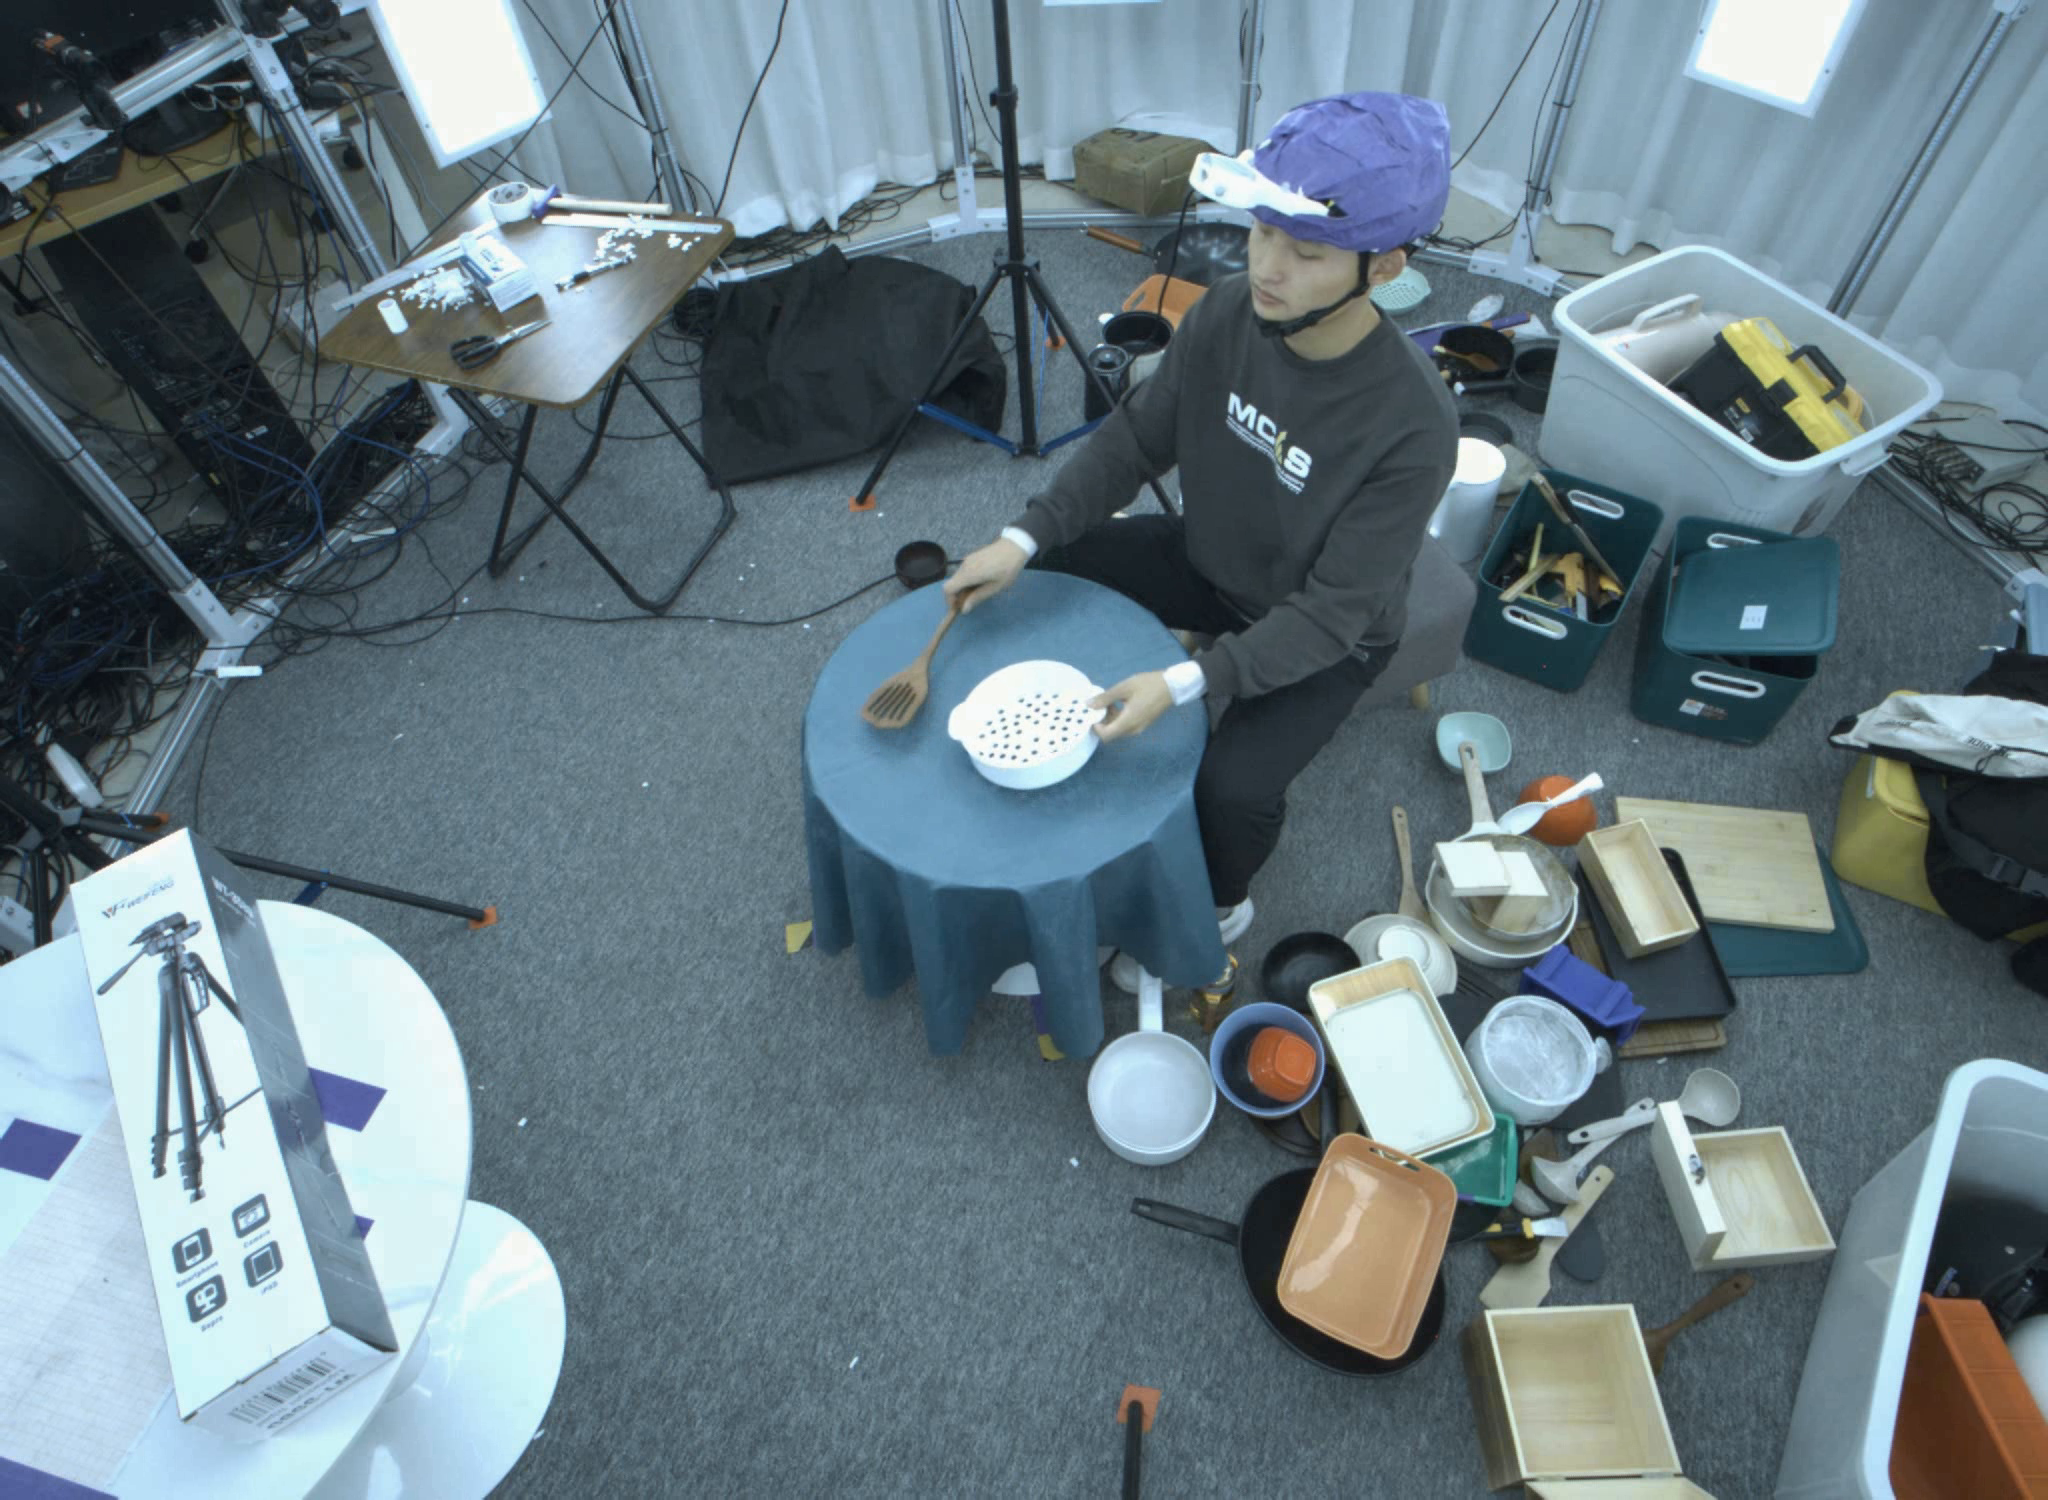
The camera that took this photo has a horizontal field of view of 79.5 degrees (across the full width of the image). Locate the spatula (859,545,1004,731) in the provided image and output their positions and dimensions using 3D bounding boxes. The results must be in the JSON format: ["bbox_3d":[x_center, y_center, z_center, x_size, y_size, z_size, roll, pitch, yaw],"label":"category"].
[{"bbox_3d":[-0.125,-0.178,1.875,0.084,0.024,0.385,17,61,23],"label":"spatula"}]

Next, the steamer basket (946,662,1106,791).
[{"bbox_3d":[0.006,-0.032,1.766,0.229,0.070,0.200,-3,52,7],"label":"steamer basket"}]
